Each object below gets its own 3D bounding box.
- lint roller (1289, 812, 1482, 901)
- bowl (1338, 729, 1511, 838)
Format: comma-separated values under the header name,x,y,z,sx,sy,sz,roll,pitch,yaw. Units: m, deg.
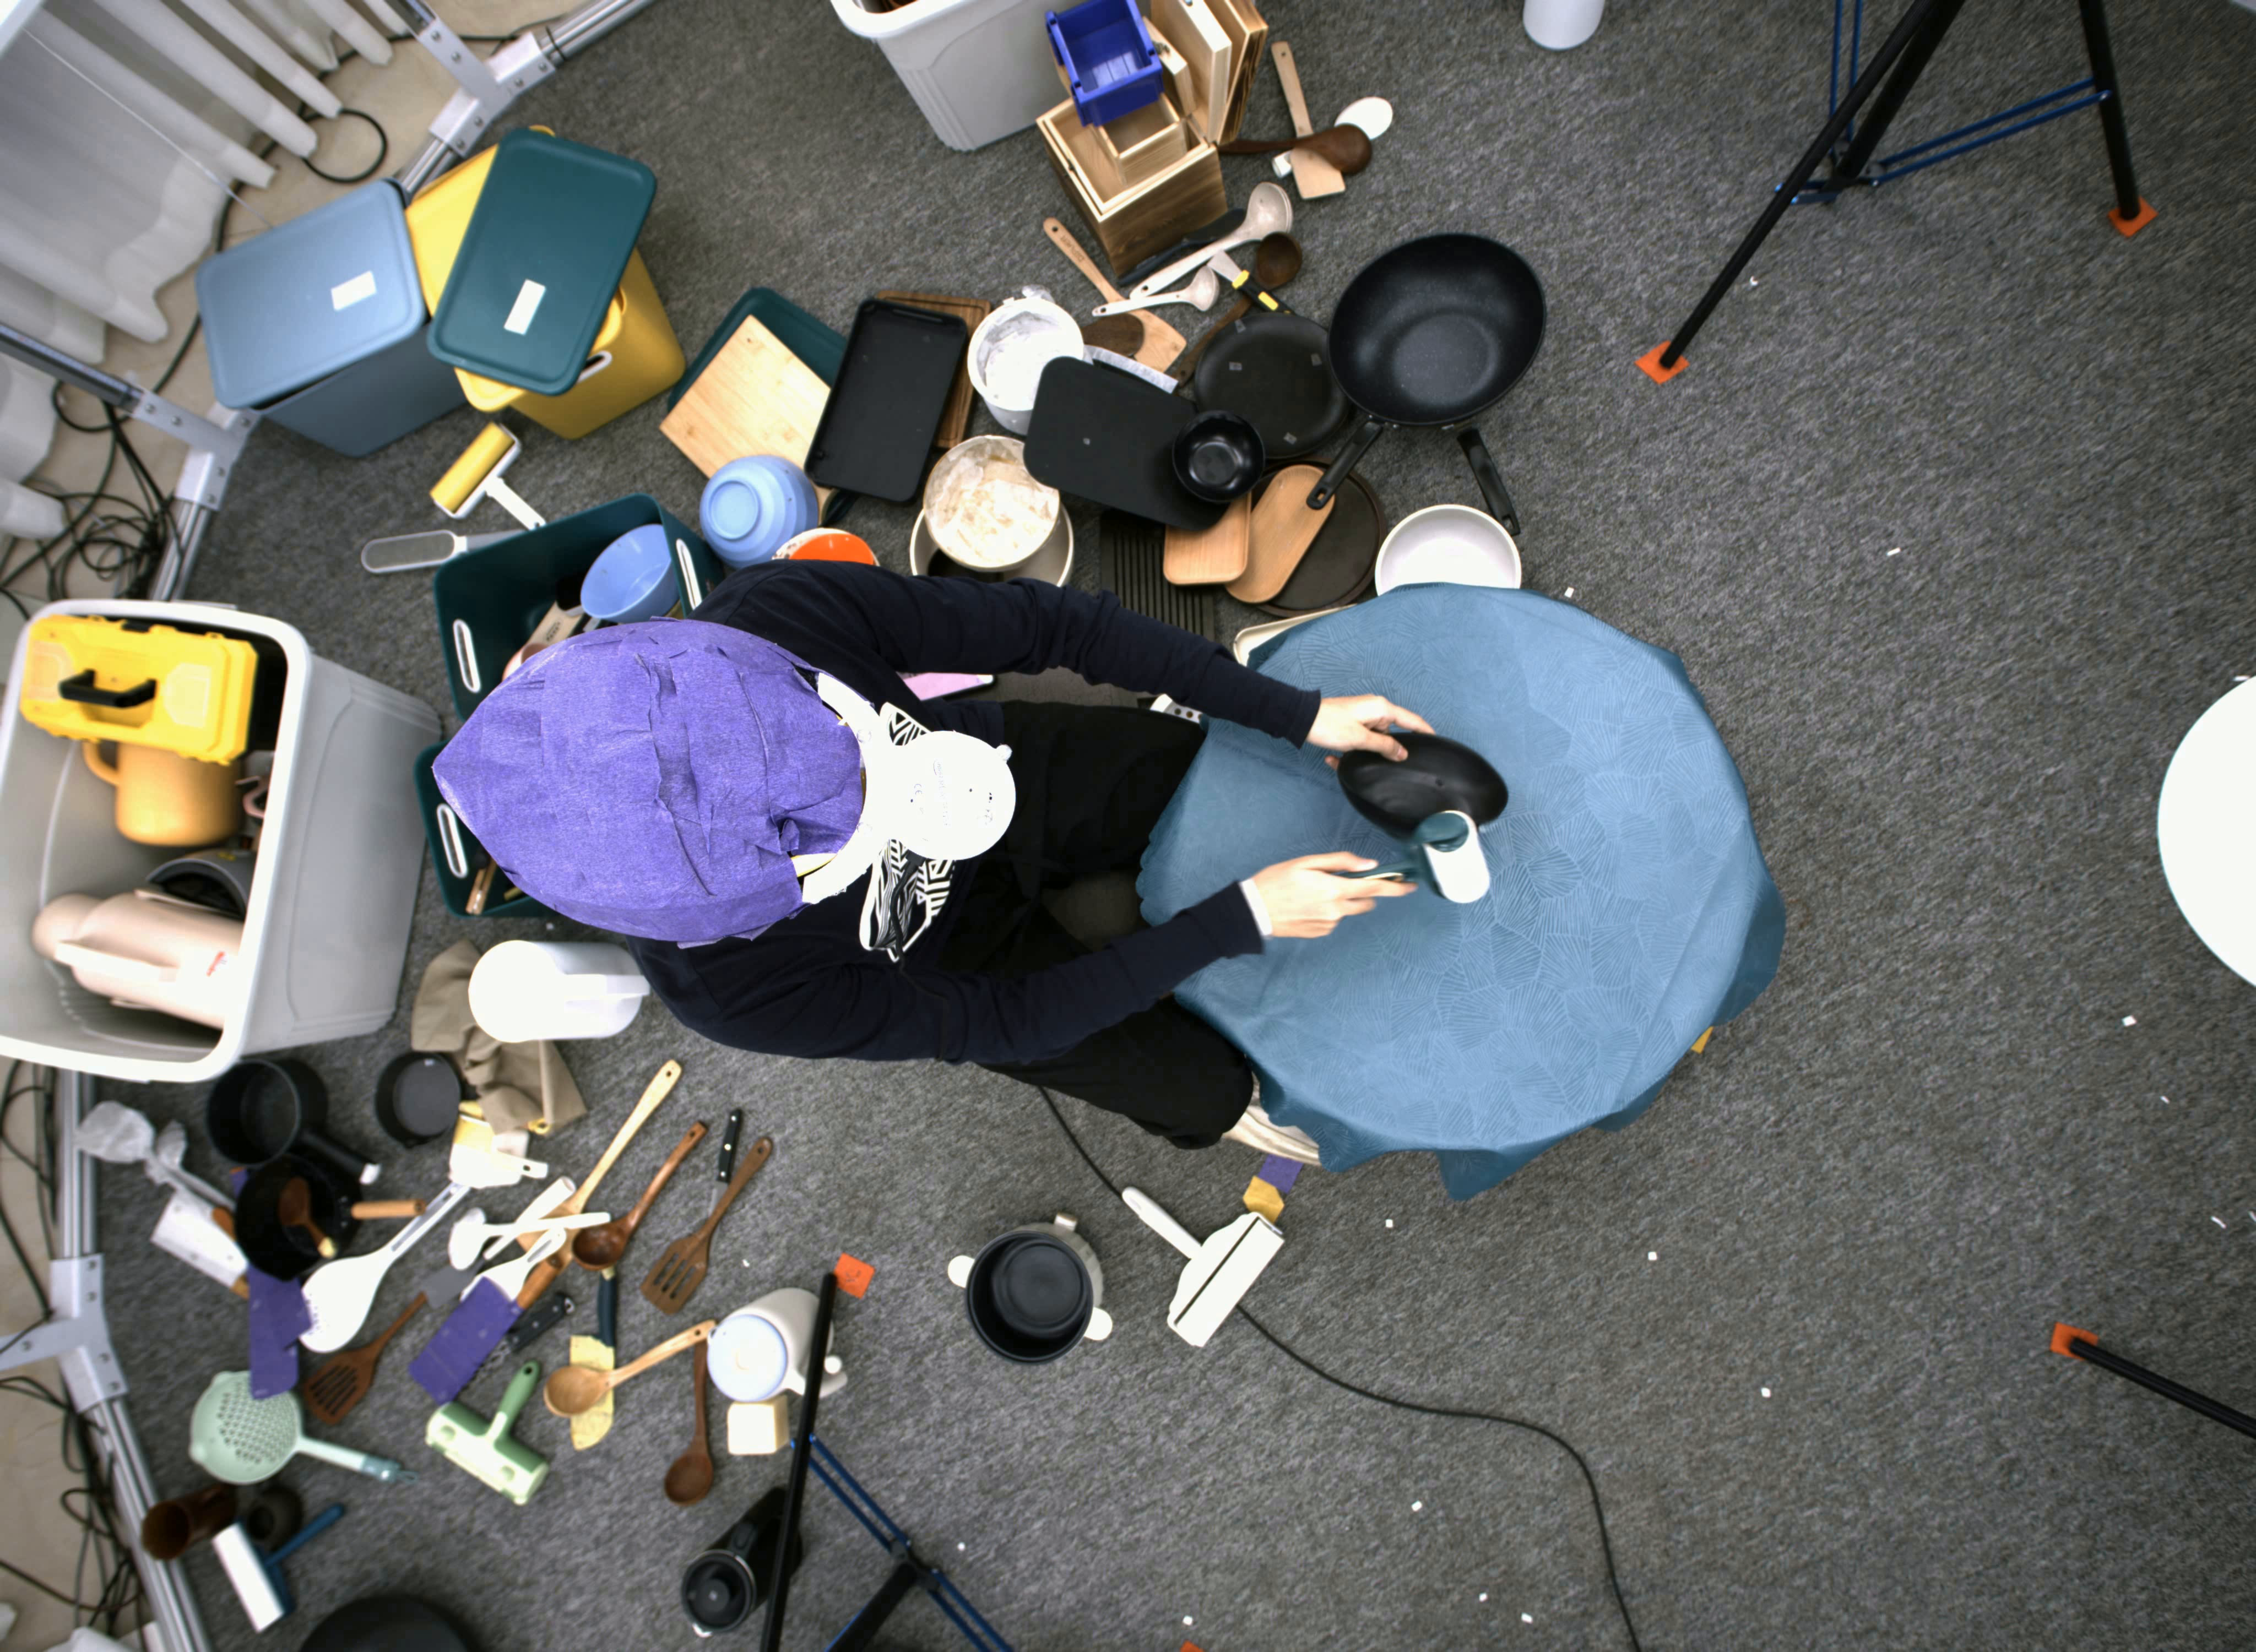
name,x,y,z,sx,sy,sz,roll,pitch,yaw
lint roller,0.244,0.049,1.326,0.181,0.136,0.047,-19,57,14
bowl,0.289,-0.032,1.367,0.170,0.133,0.068,8,132,2
